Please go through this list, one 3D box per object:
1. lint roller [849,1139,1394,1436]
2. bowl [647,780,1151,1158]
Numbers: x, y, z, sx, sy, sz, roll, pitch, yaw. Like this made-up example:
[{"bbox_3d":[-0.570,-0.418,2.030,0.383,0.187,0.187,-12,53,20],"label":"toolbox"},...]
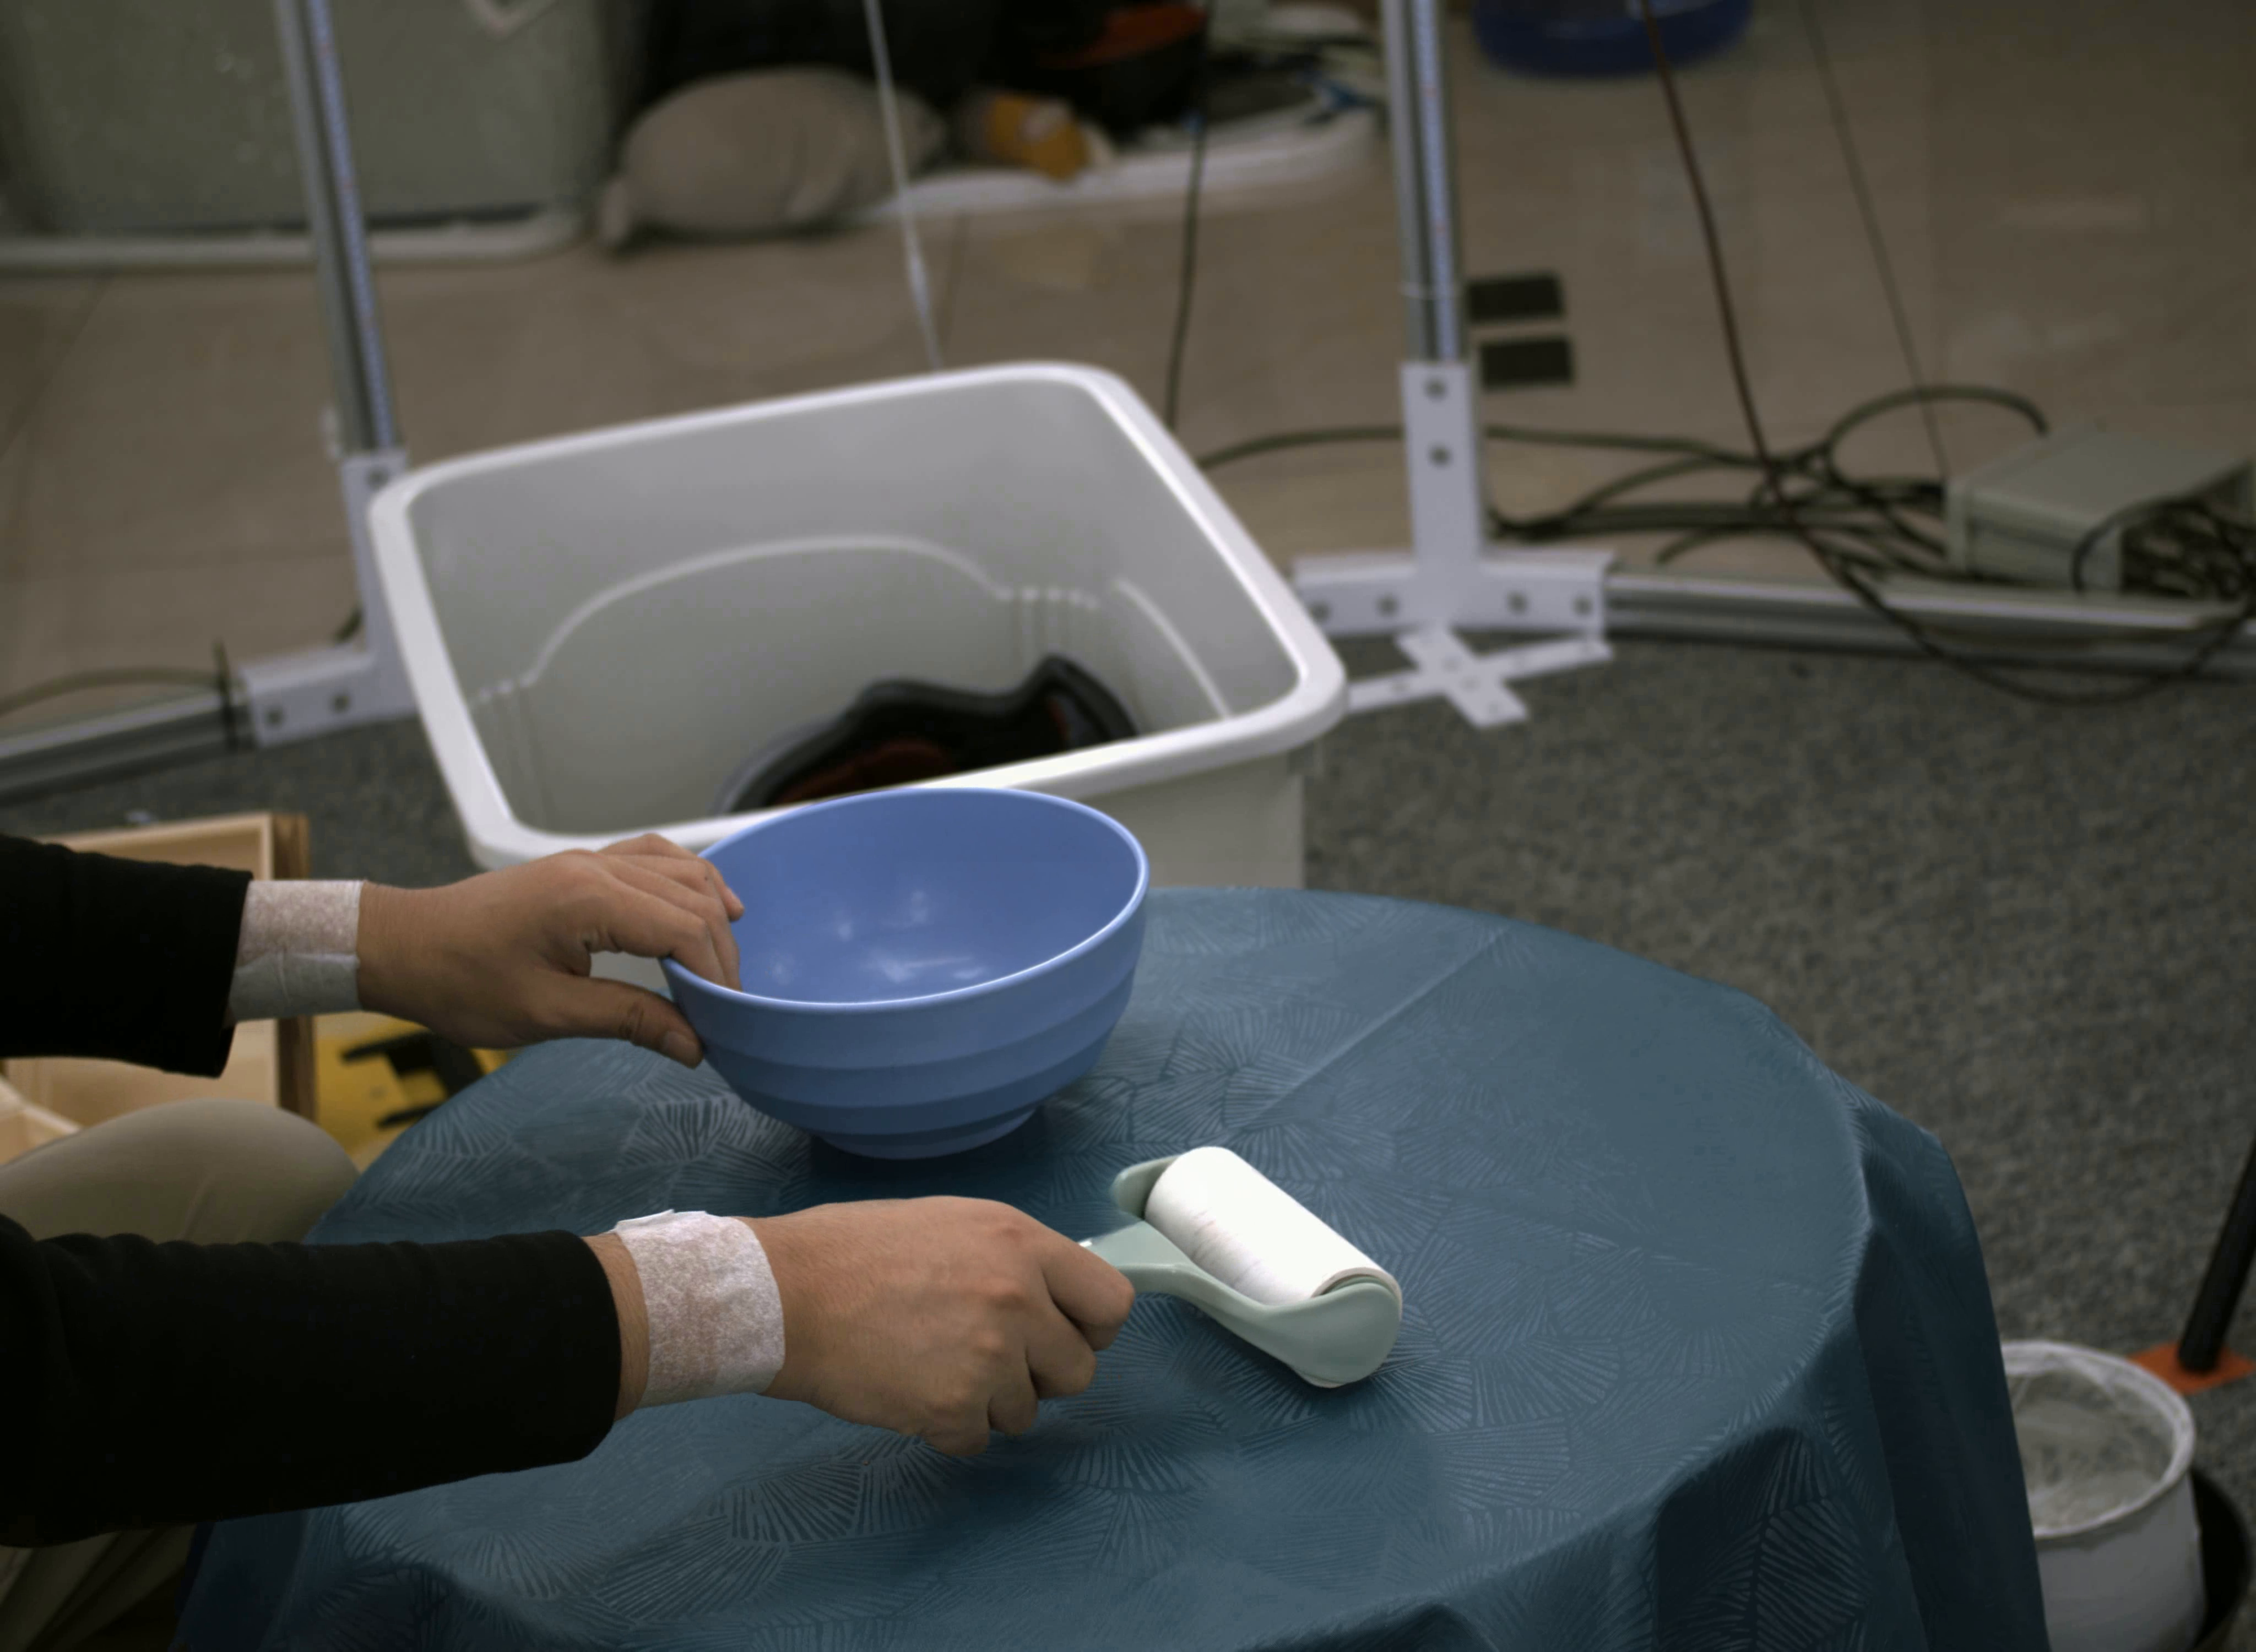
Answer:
[{"bbox_3d":[-0.014,0.167,1.999,0.197,0.049,0.115,-12,30,-31],"label":"lint roller"},{"bbox_3d":[-0.084,0.067,2.208,0.196,0.097,0.193,-5,26,2],"label":"bowl"}]
